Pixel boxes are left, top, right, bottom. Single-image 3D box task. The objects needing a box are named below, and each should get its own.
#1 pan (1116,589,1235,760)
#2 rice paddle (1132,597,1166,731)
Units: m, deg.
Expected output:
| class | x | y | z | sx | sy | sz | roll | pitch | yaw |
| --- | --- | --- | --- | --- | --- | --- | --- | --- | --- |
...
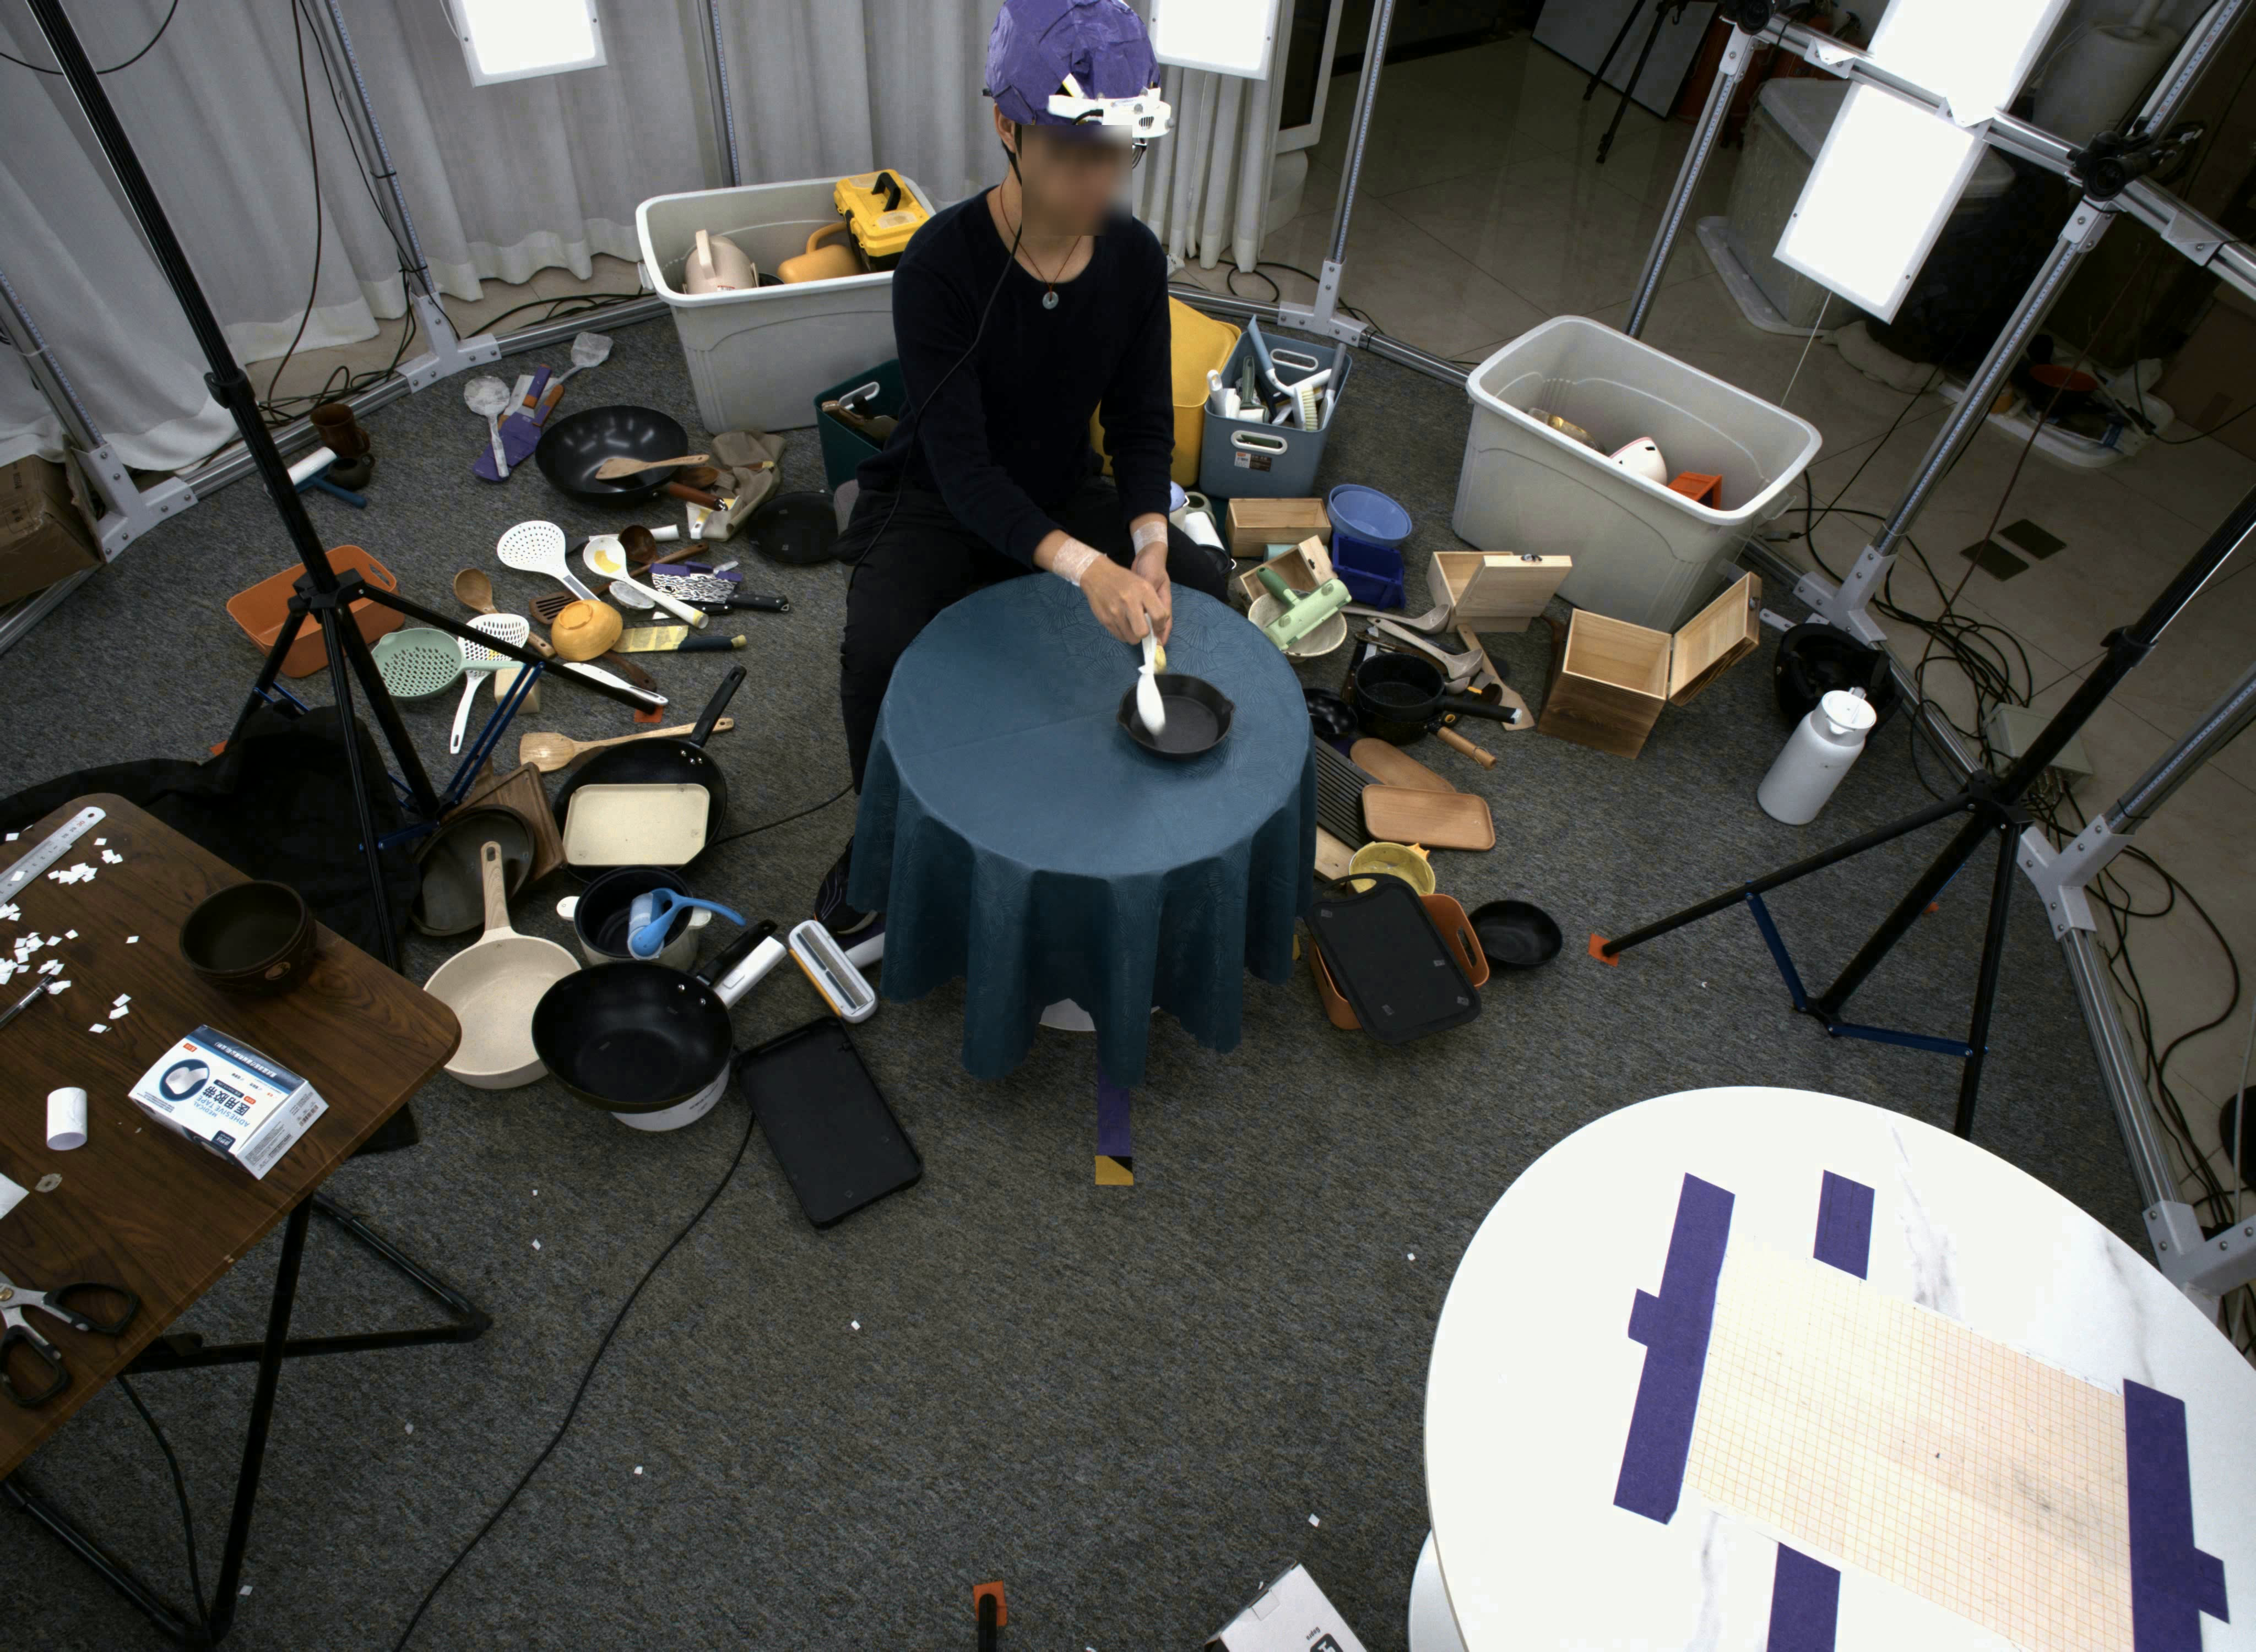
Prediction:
| class | x | y | z | sx | sy | sz | roll | pitch | yaw |
| --- | --- | --- | --- | --- | --- | --- | --- | --- | --- |
| pan | 0.050 | -0.218 | 1.829 | 0.169 | 0.048 | 0.332 | -6 | 50 | -9 |
| rice paddle | 0.029 | -0.211 | 1.709 | 0.029 | 0.200 | 0.070 | -23 | 44 | -18 |
